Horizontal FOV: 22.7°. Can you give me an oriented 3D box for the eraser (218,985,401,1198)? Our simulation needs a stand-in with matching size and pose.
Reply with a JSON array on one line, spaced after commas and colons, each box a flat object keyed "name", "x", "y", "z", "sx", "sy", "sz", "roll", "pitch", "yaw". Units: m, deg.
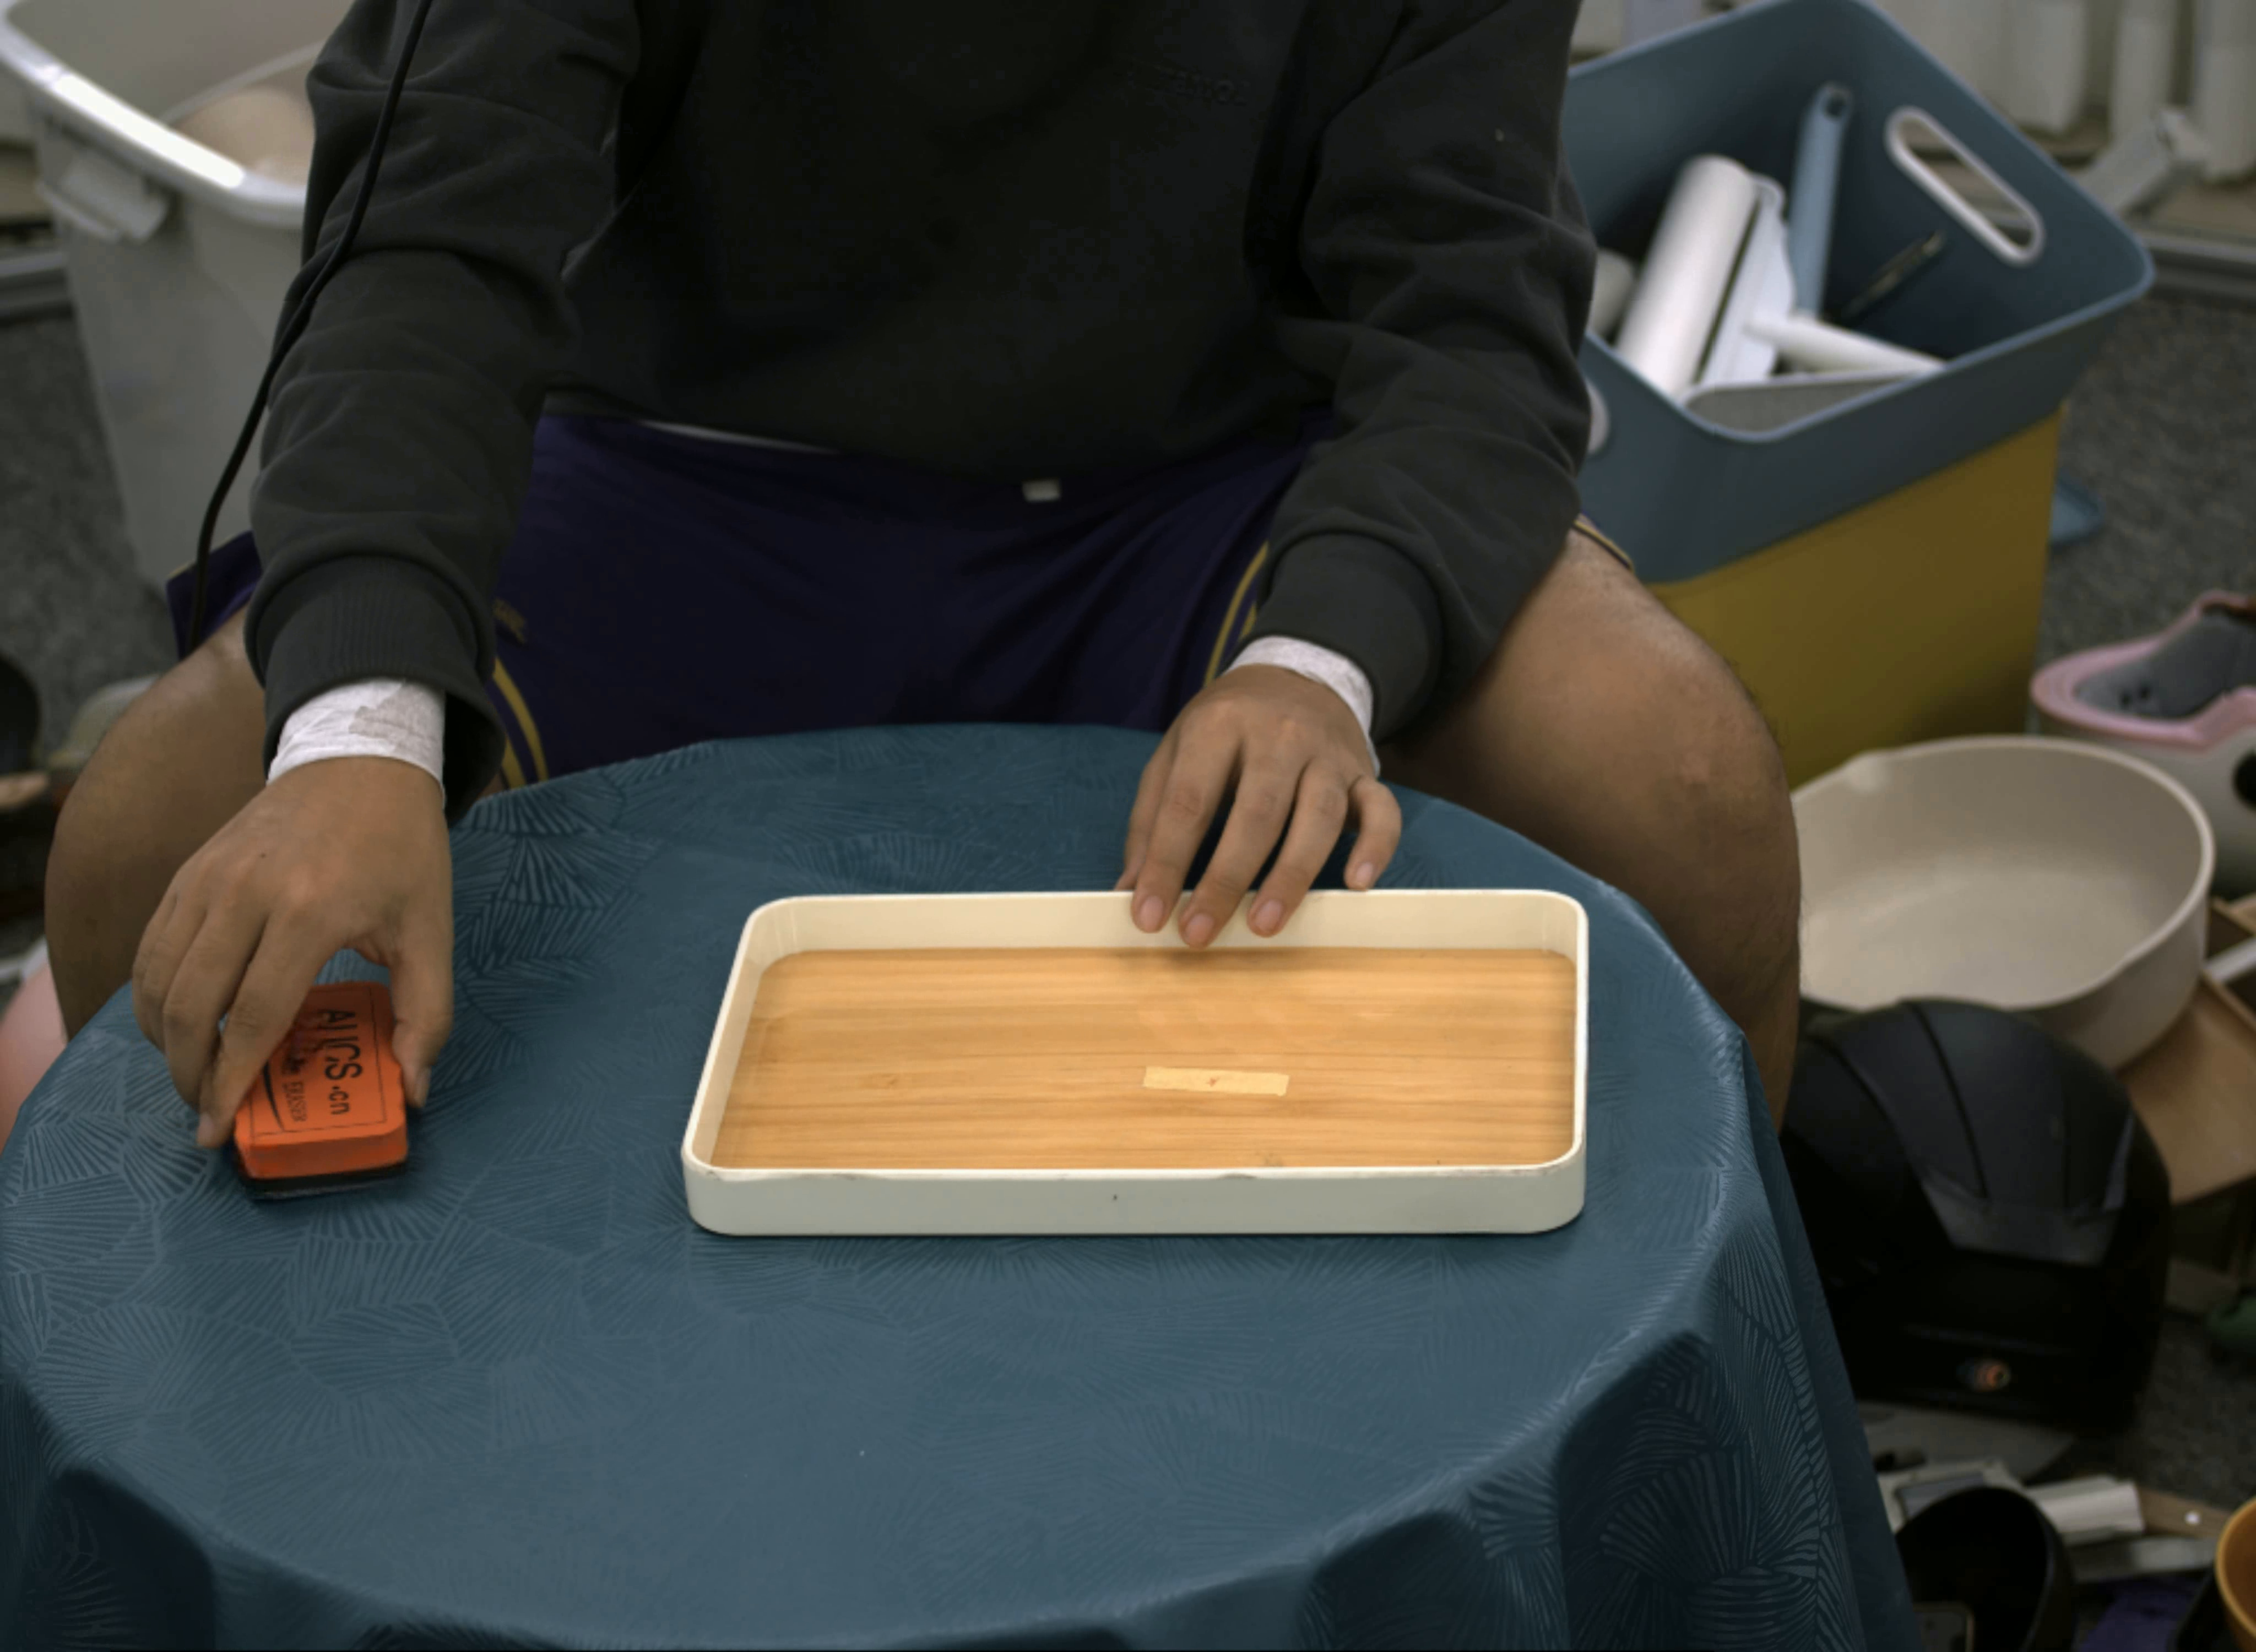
[{"name": "eraser", "x": -0.280, "y": 0.091, "z": 1.924, "sx": 0.059, "sy": 0.022, "sz": 0.109, "roll": -5, "pitch": 26, "yaw": -4}]

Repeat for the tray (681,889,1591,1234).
[{"name": "tray", "x": 0.007, "y": 0.079, "z": 1.914, "sx": 0.298, "sy": 0.027, "sz": 0.195, "roll": 0, "pitch": 28, "yaw": 5}]
